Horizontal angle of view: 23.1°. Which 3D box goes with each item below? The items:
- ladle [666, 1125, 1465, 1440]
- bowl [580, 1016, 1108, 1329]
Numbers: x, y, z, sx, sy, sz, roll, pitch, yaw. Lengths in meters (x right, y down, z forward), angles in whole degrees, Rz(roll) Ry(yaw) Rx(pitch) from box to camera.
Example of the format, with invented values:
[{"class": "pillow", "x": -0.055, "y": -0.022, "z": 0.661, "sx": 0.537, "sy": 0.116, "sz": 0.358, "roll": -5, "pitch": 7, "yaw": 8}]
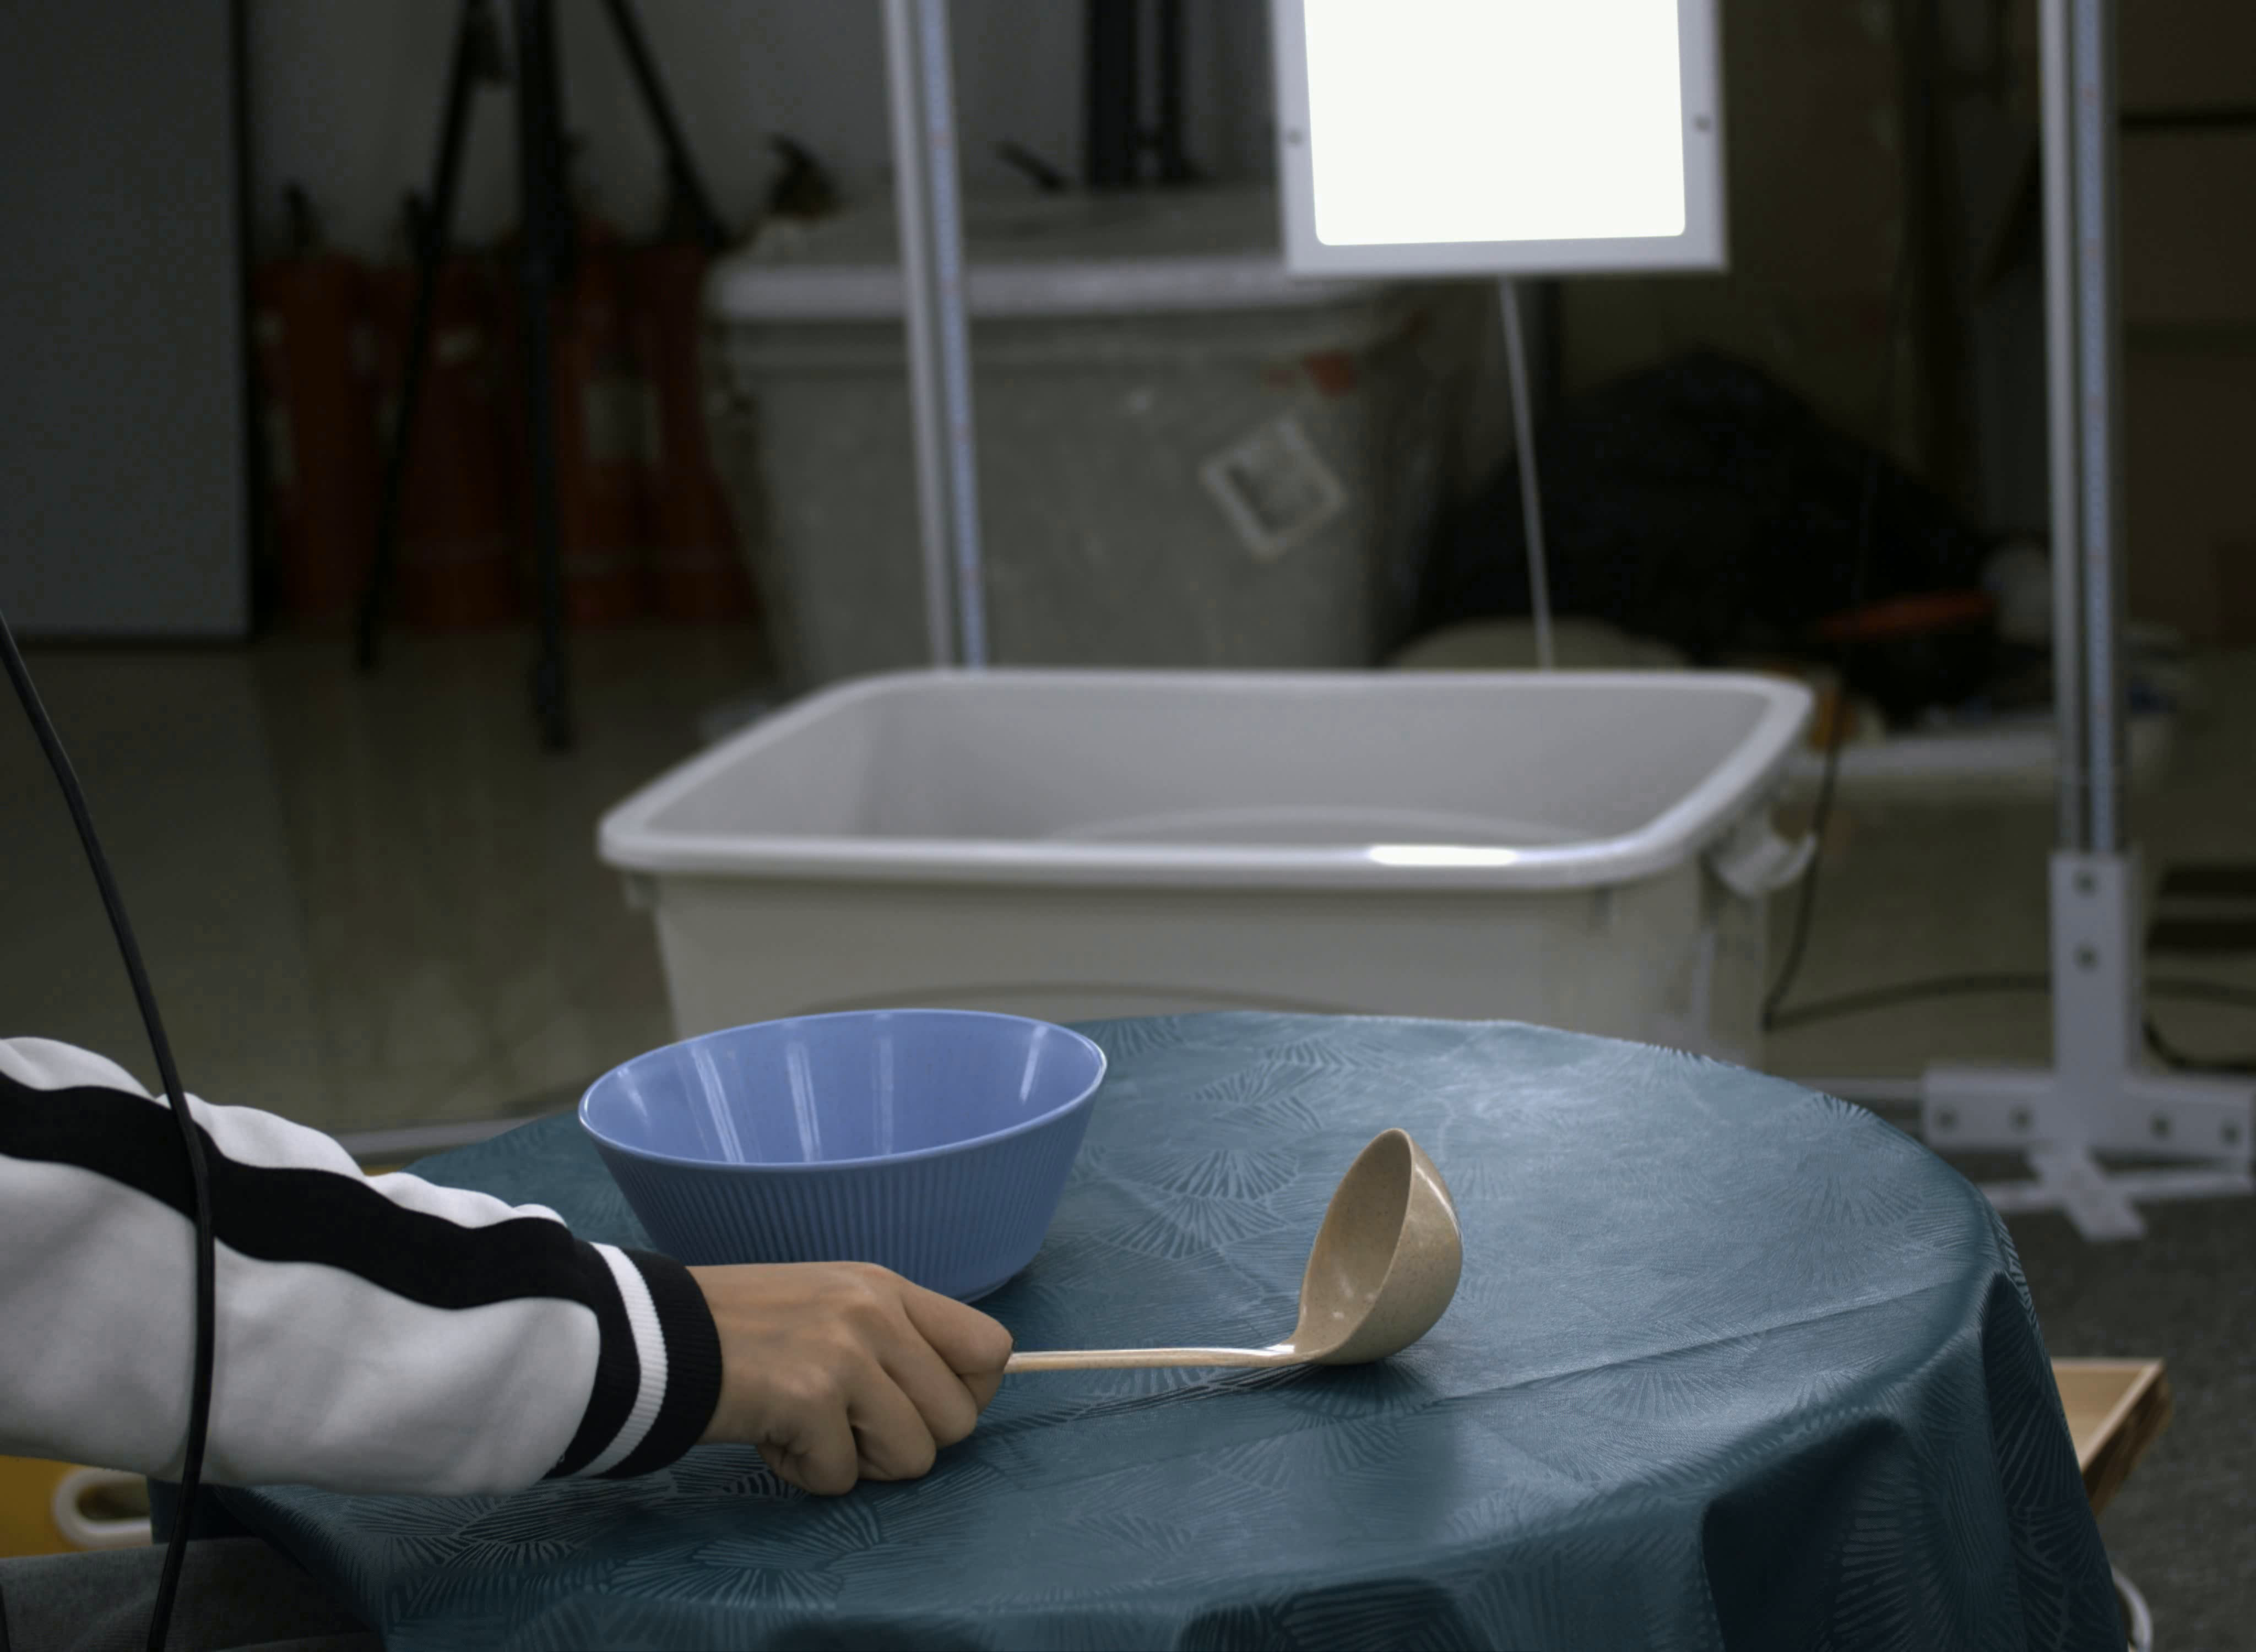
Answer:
[{"class": "ladle", "x": -0.020, "y": 0.137, "z": 1.678, "sx": 0.250, "sy": 0.073, "sz": 0.073, "roll": -4, "pitch": 2, "yaw": -17}, {"class": "bowl", "x": -0.091, "y": 0.117, "z": 1.826, "sx": 0.175, "sy": 0.070, "sz": 0.176, "roll": -5, "pitch": 13, "yaw": 0}]
